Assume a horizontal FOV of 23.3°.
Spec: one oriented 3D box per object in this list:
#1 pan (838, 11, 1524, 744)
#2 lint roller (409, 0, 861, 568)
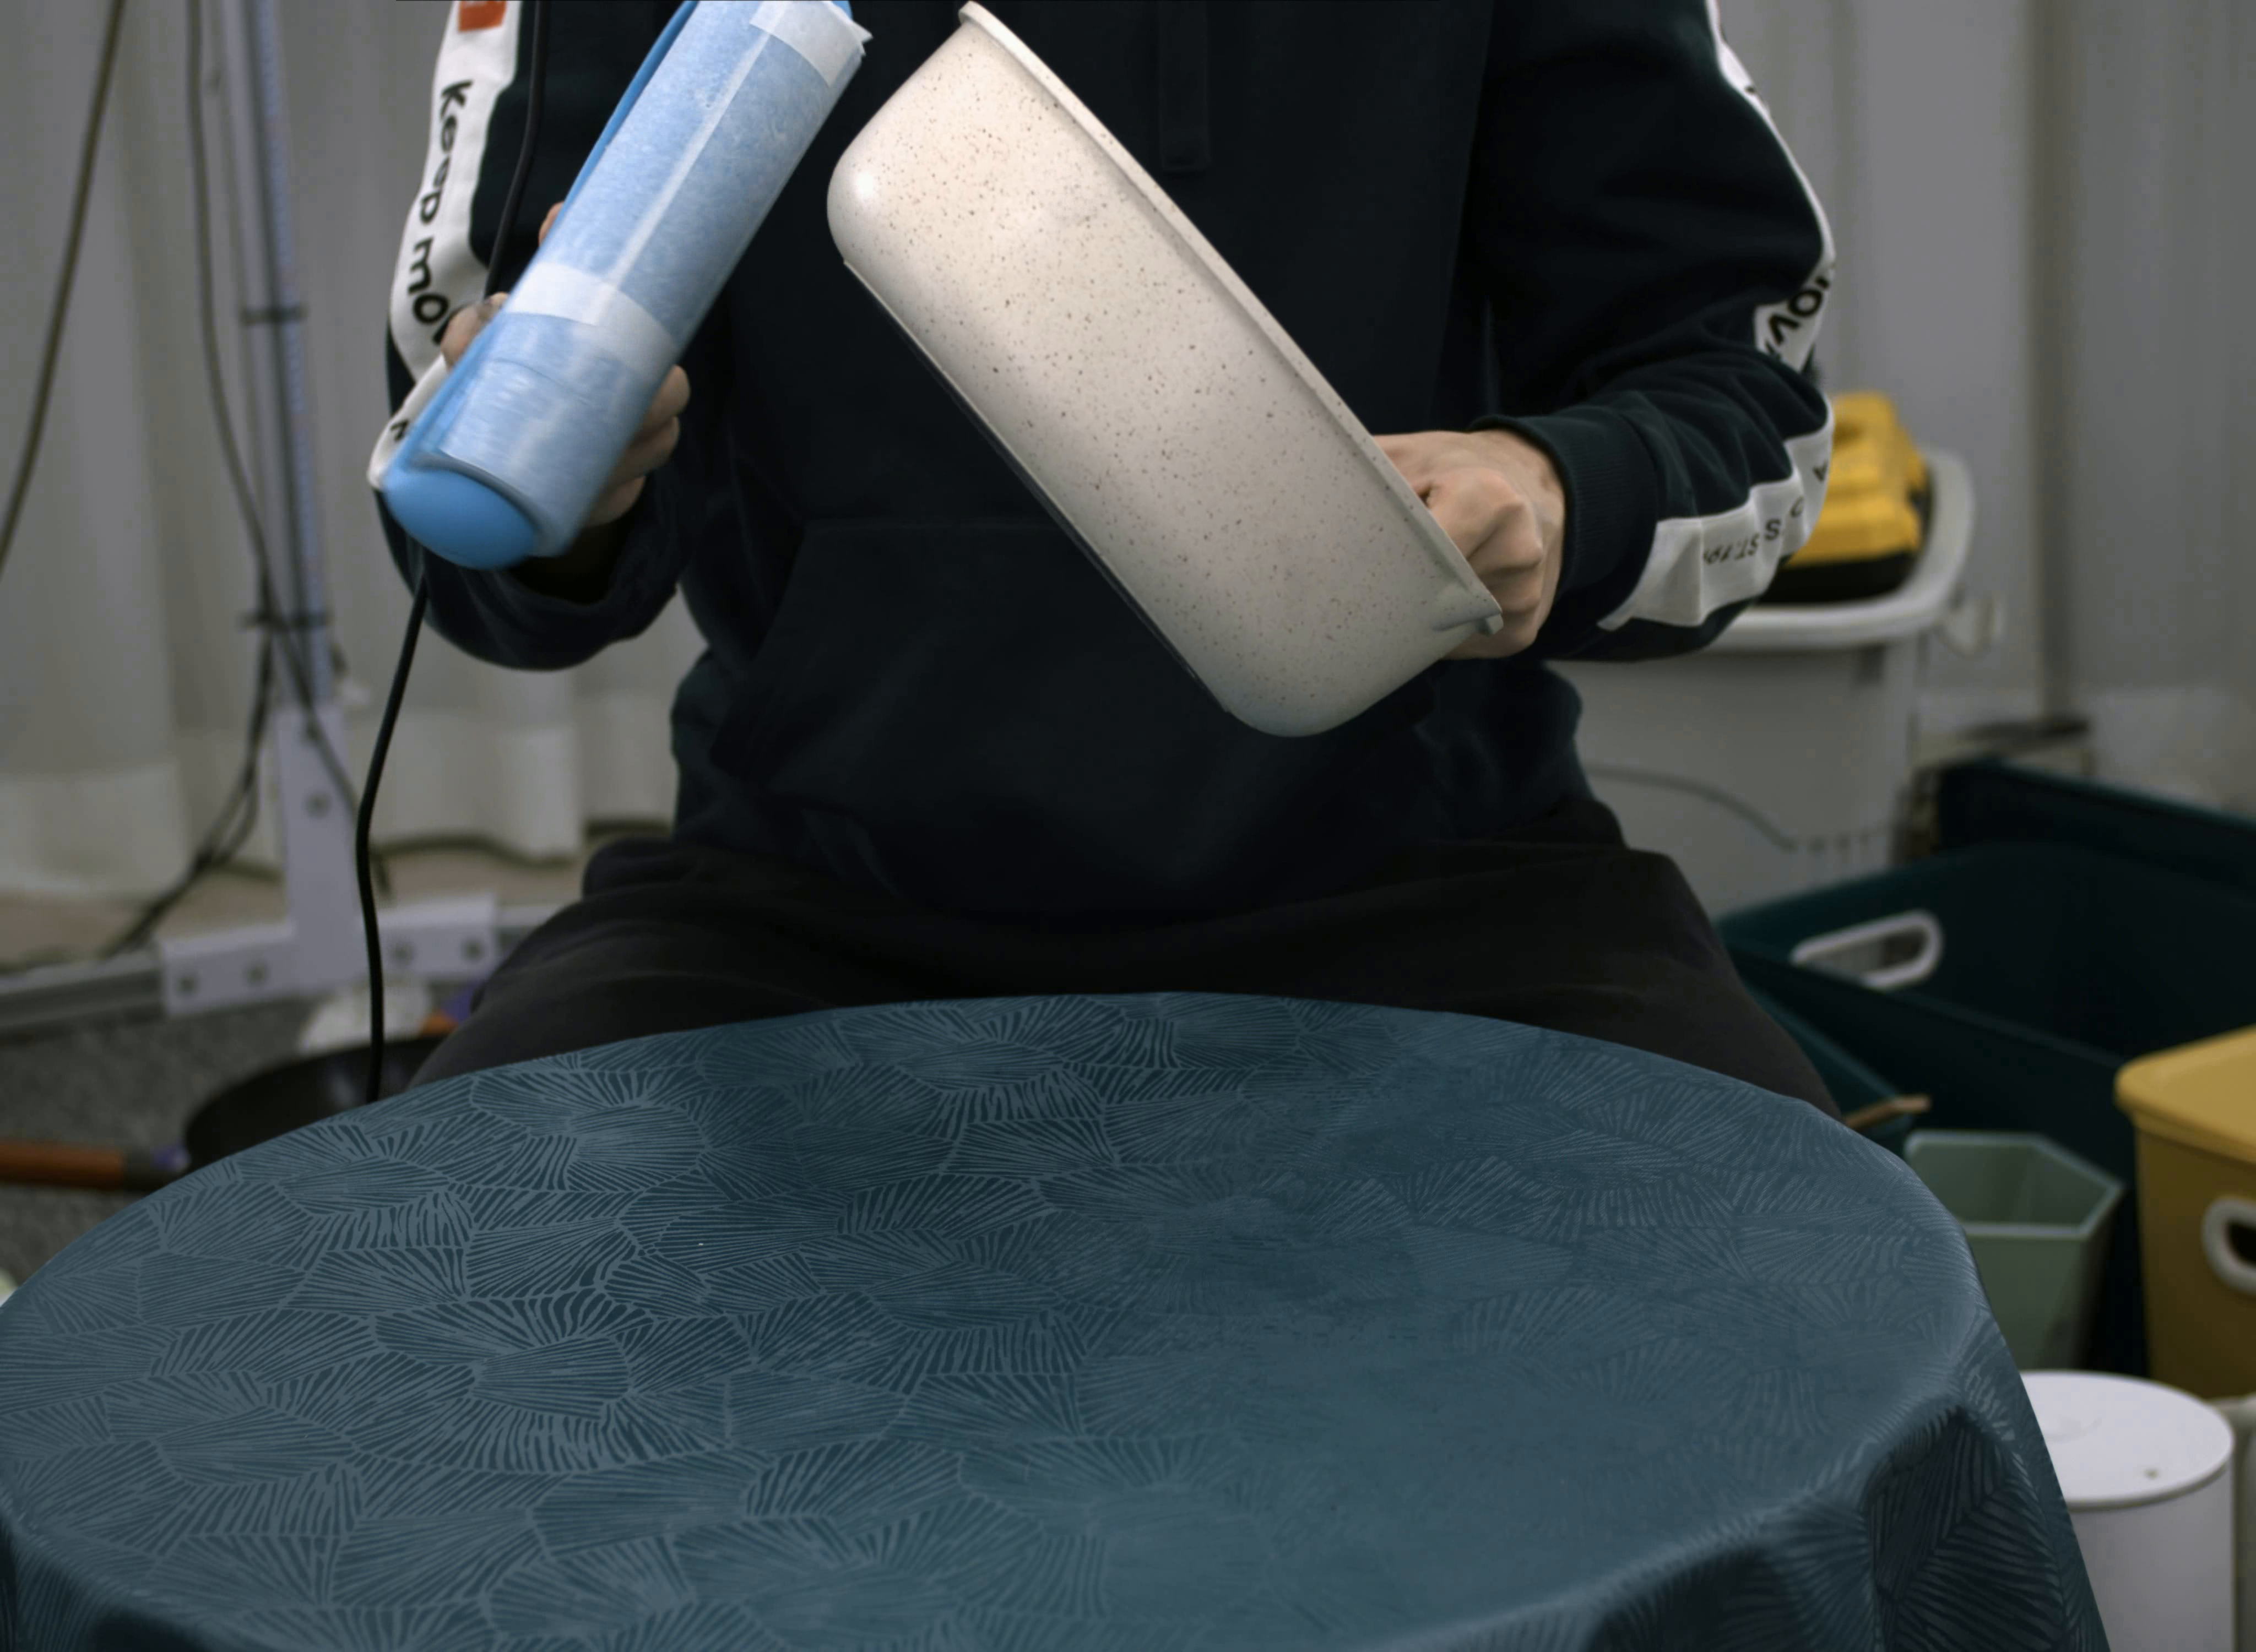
[{"bbox_3d":[0.036,-0.107,1.762,0.266,0.102,0.430,48,0,23],"label":"pan"},{"bbox_3d":[-0.162,-0.158,1.744,0.068,0.231,0.179,27,-24,-4],"label":"lint roller"}]
